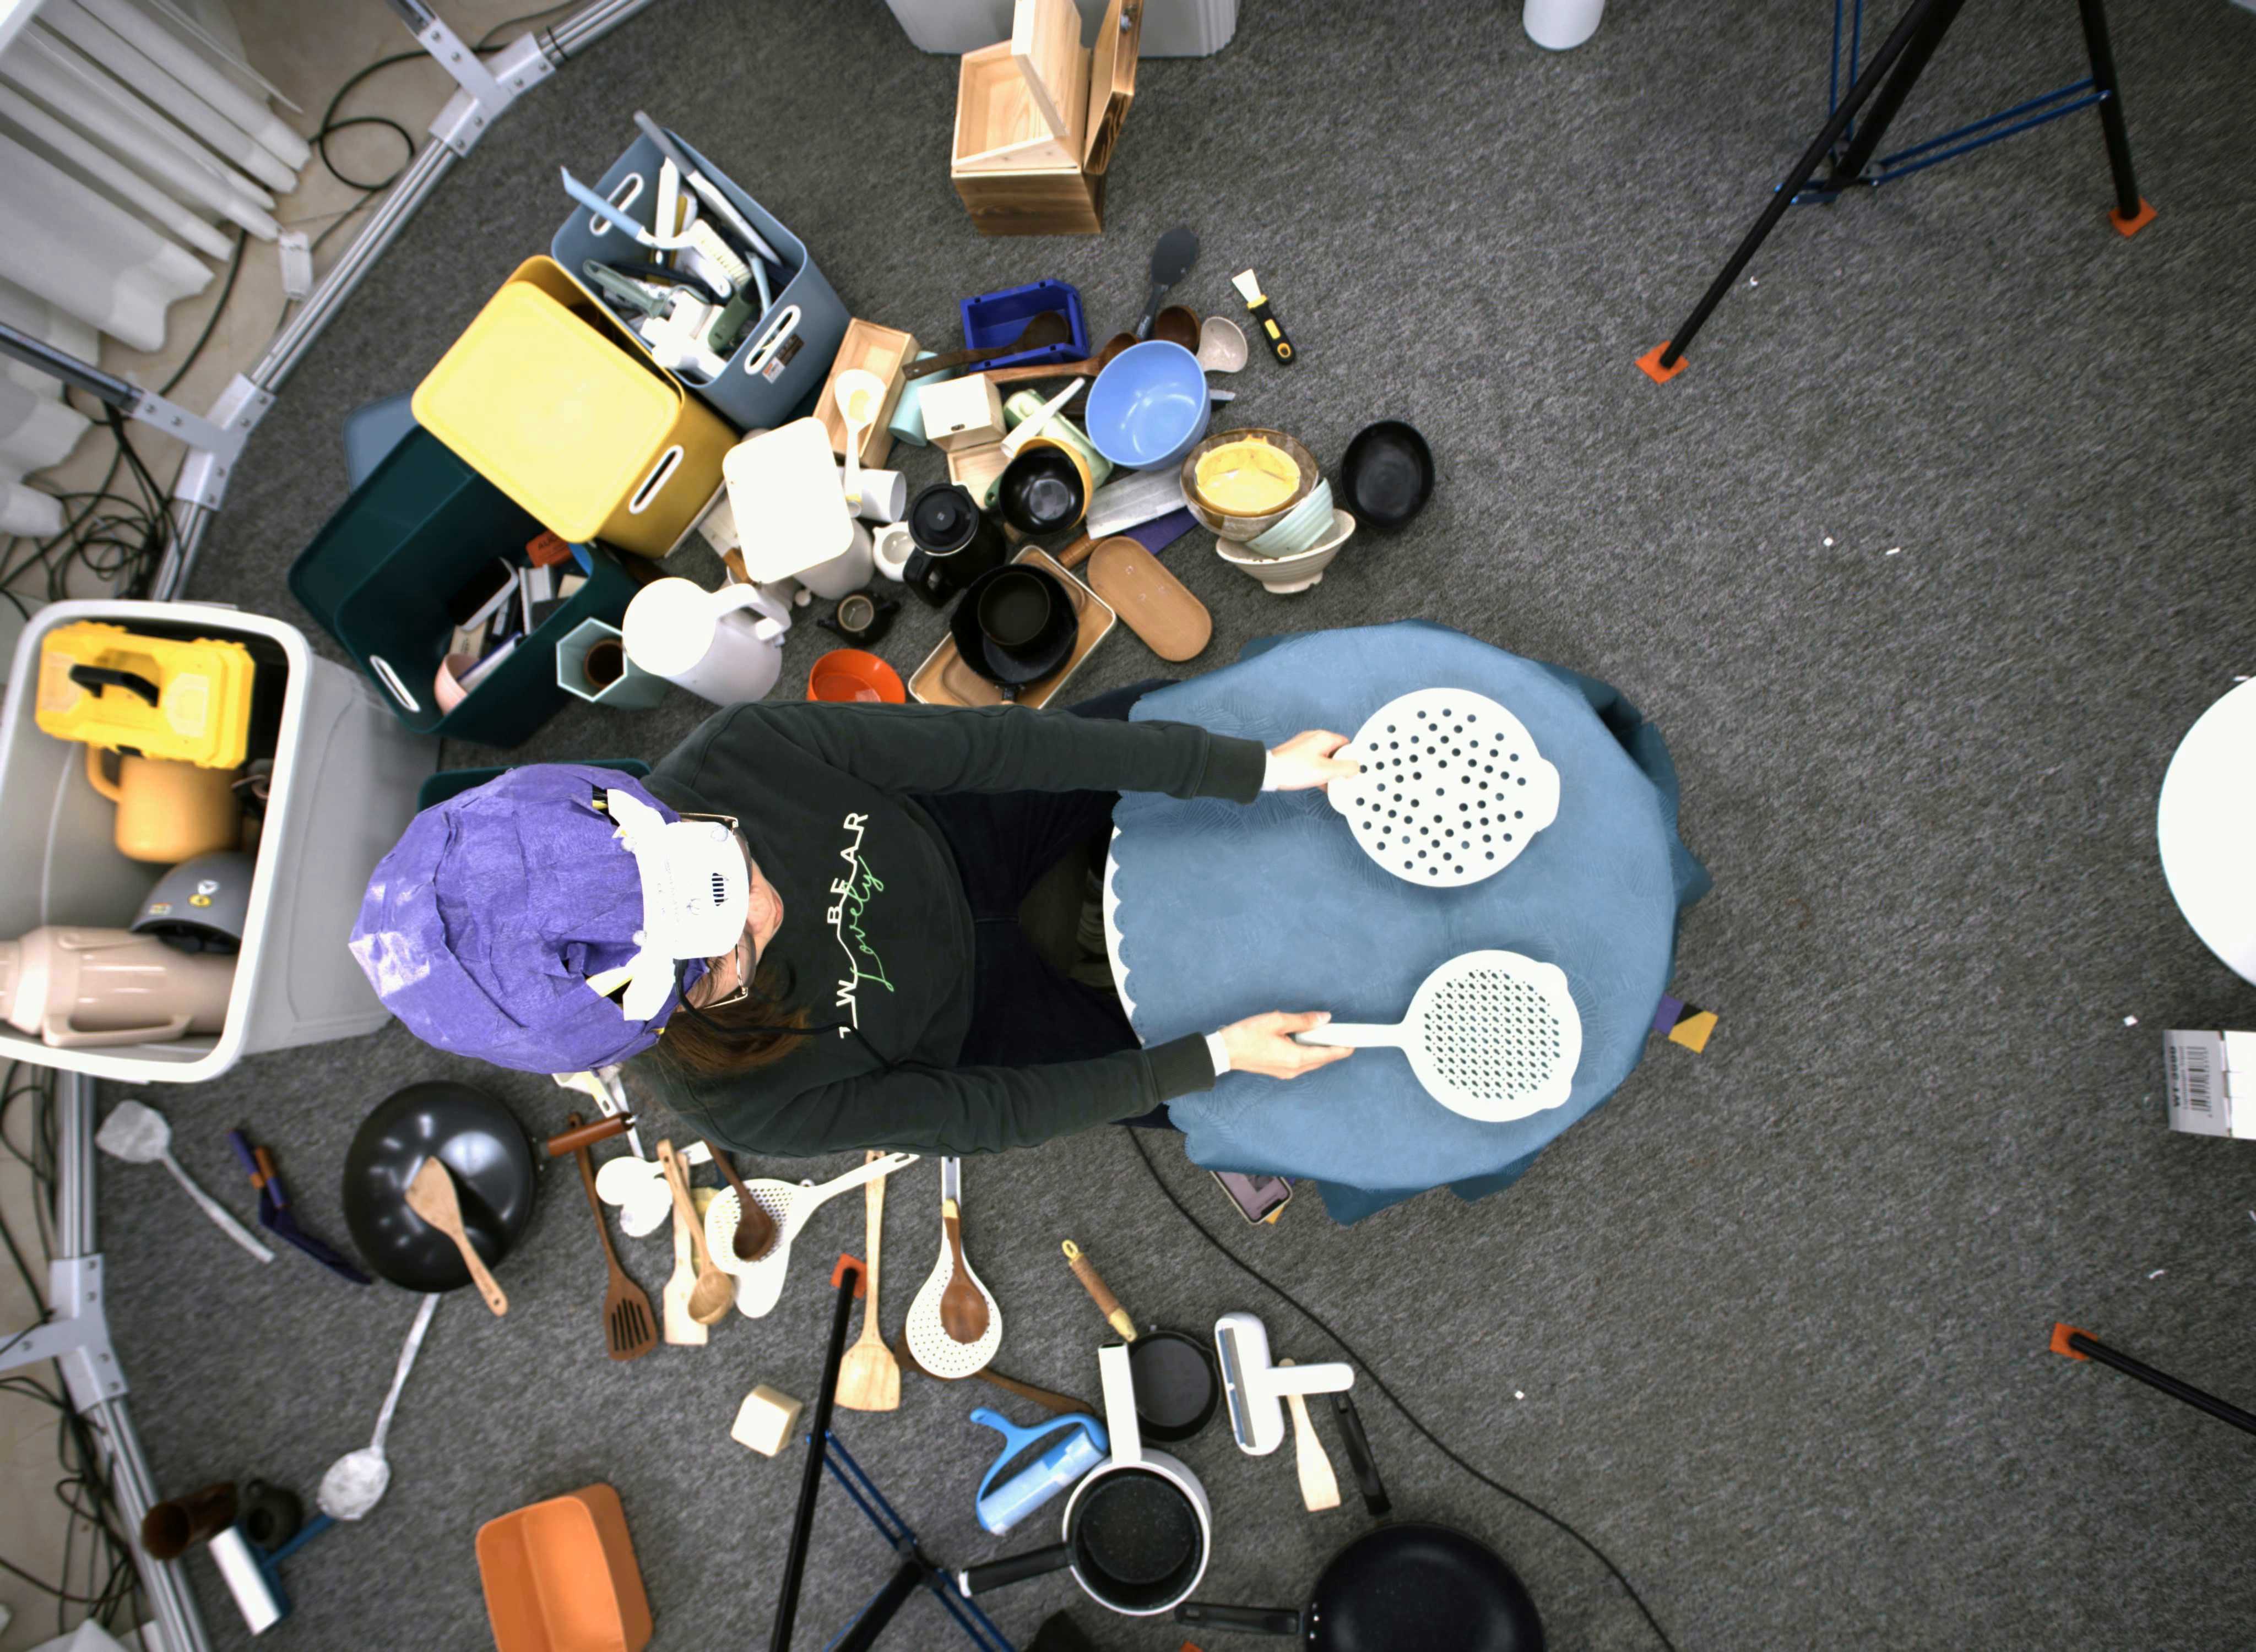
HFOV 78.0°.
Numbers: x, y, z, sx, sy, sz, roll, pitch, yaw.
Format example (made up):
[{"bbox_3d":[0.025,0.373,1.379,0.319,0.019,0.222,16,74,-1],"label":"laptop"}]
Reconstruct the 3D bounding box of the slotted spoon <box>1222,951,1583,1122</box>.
[{"bbox_3d":[0.275,0.213,1.413,0.360,0.076,0.168,-1,82,6],"label":"slotted spoon"}]

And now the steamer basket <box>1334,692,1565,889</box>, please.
[{"bbox_3d":[0.331,-0.036,1.422,0.231,0.069,0.201,3,88,12],"label":"steamer basket"}]
